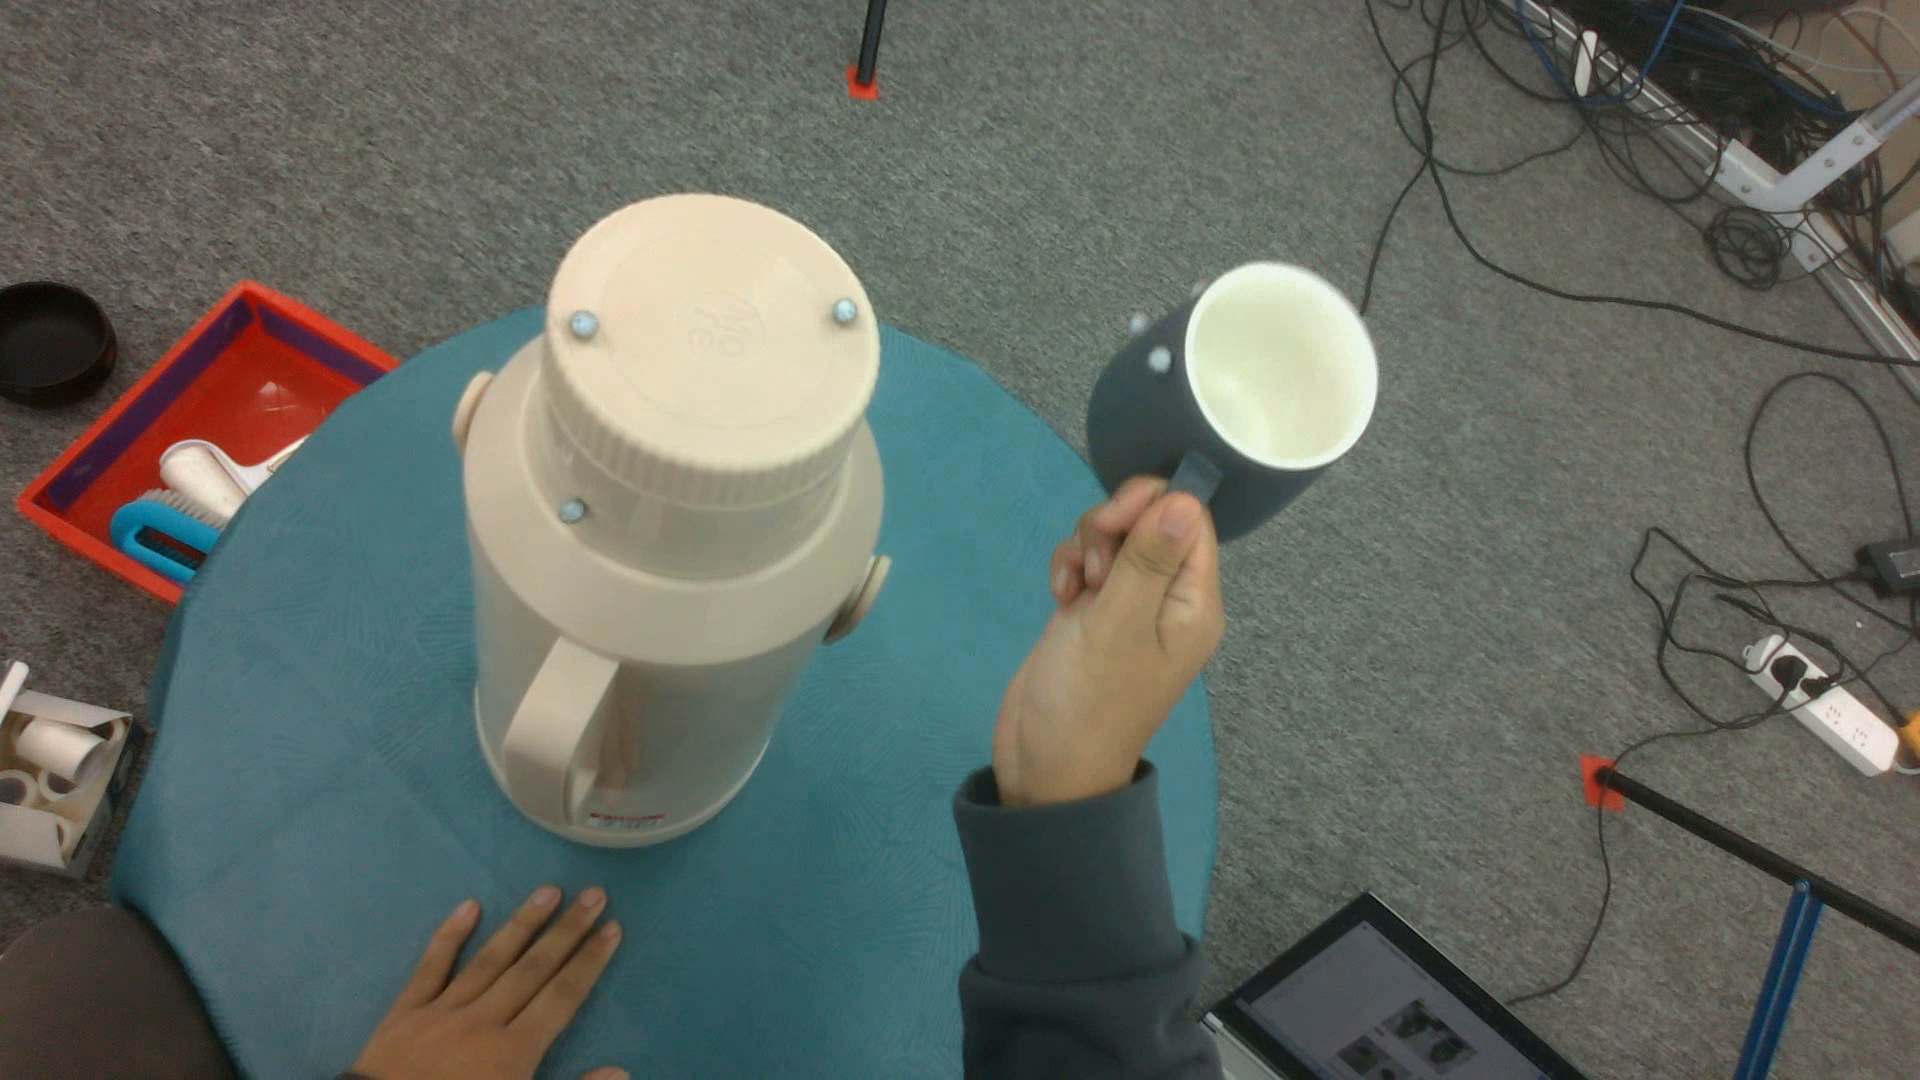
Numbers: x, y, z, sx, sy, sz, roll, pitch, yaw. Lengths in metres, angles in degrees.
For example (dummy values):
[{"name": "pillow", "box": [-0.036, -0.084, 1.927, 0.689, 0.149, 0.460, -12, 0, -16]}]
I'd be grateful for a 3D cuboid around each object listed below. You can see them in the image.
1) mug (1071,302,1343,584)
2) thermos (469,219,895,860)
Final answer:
[{"name": "mug", "box": [0.095, -0.034, 0.576, 0.093, 0.089, 0.124, 37, 63, -4]}, {"name": "thermos", "box": [-0.135, 0.033, 0.616, 0.175, 0.404, 0.208, 22, 60, -6]}]
